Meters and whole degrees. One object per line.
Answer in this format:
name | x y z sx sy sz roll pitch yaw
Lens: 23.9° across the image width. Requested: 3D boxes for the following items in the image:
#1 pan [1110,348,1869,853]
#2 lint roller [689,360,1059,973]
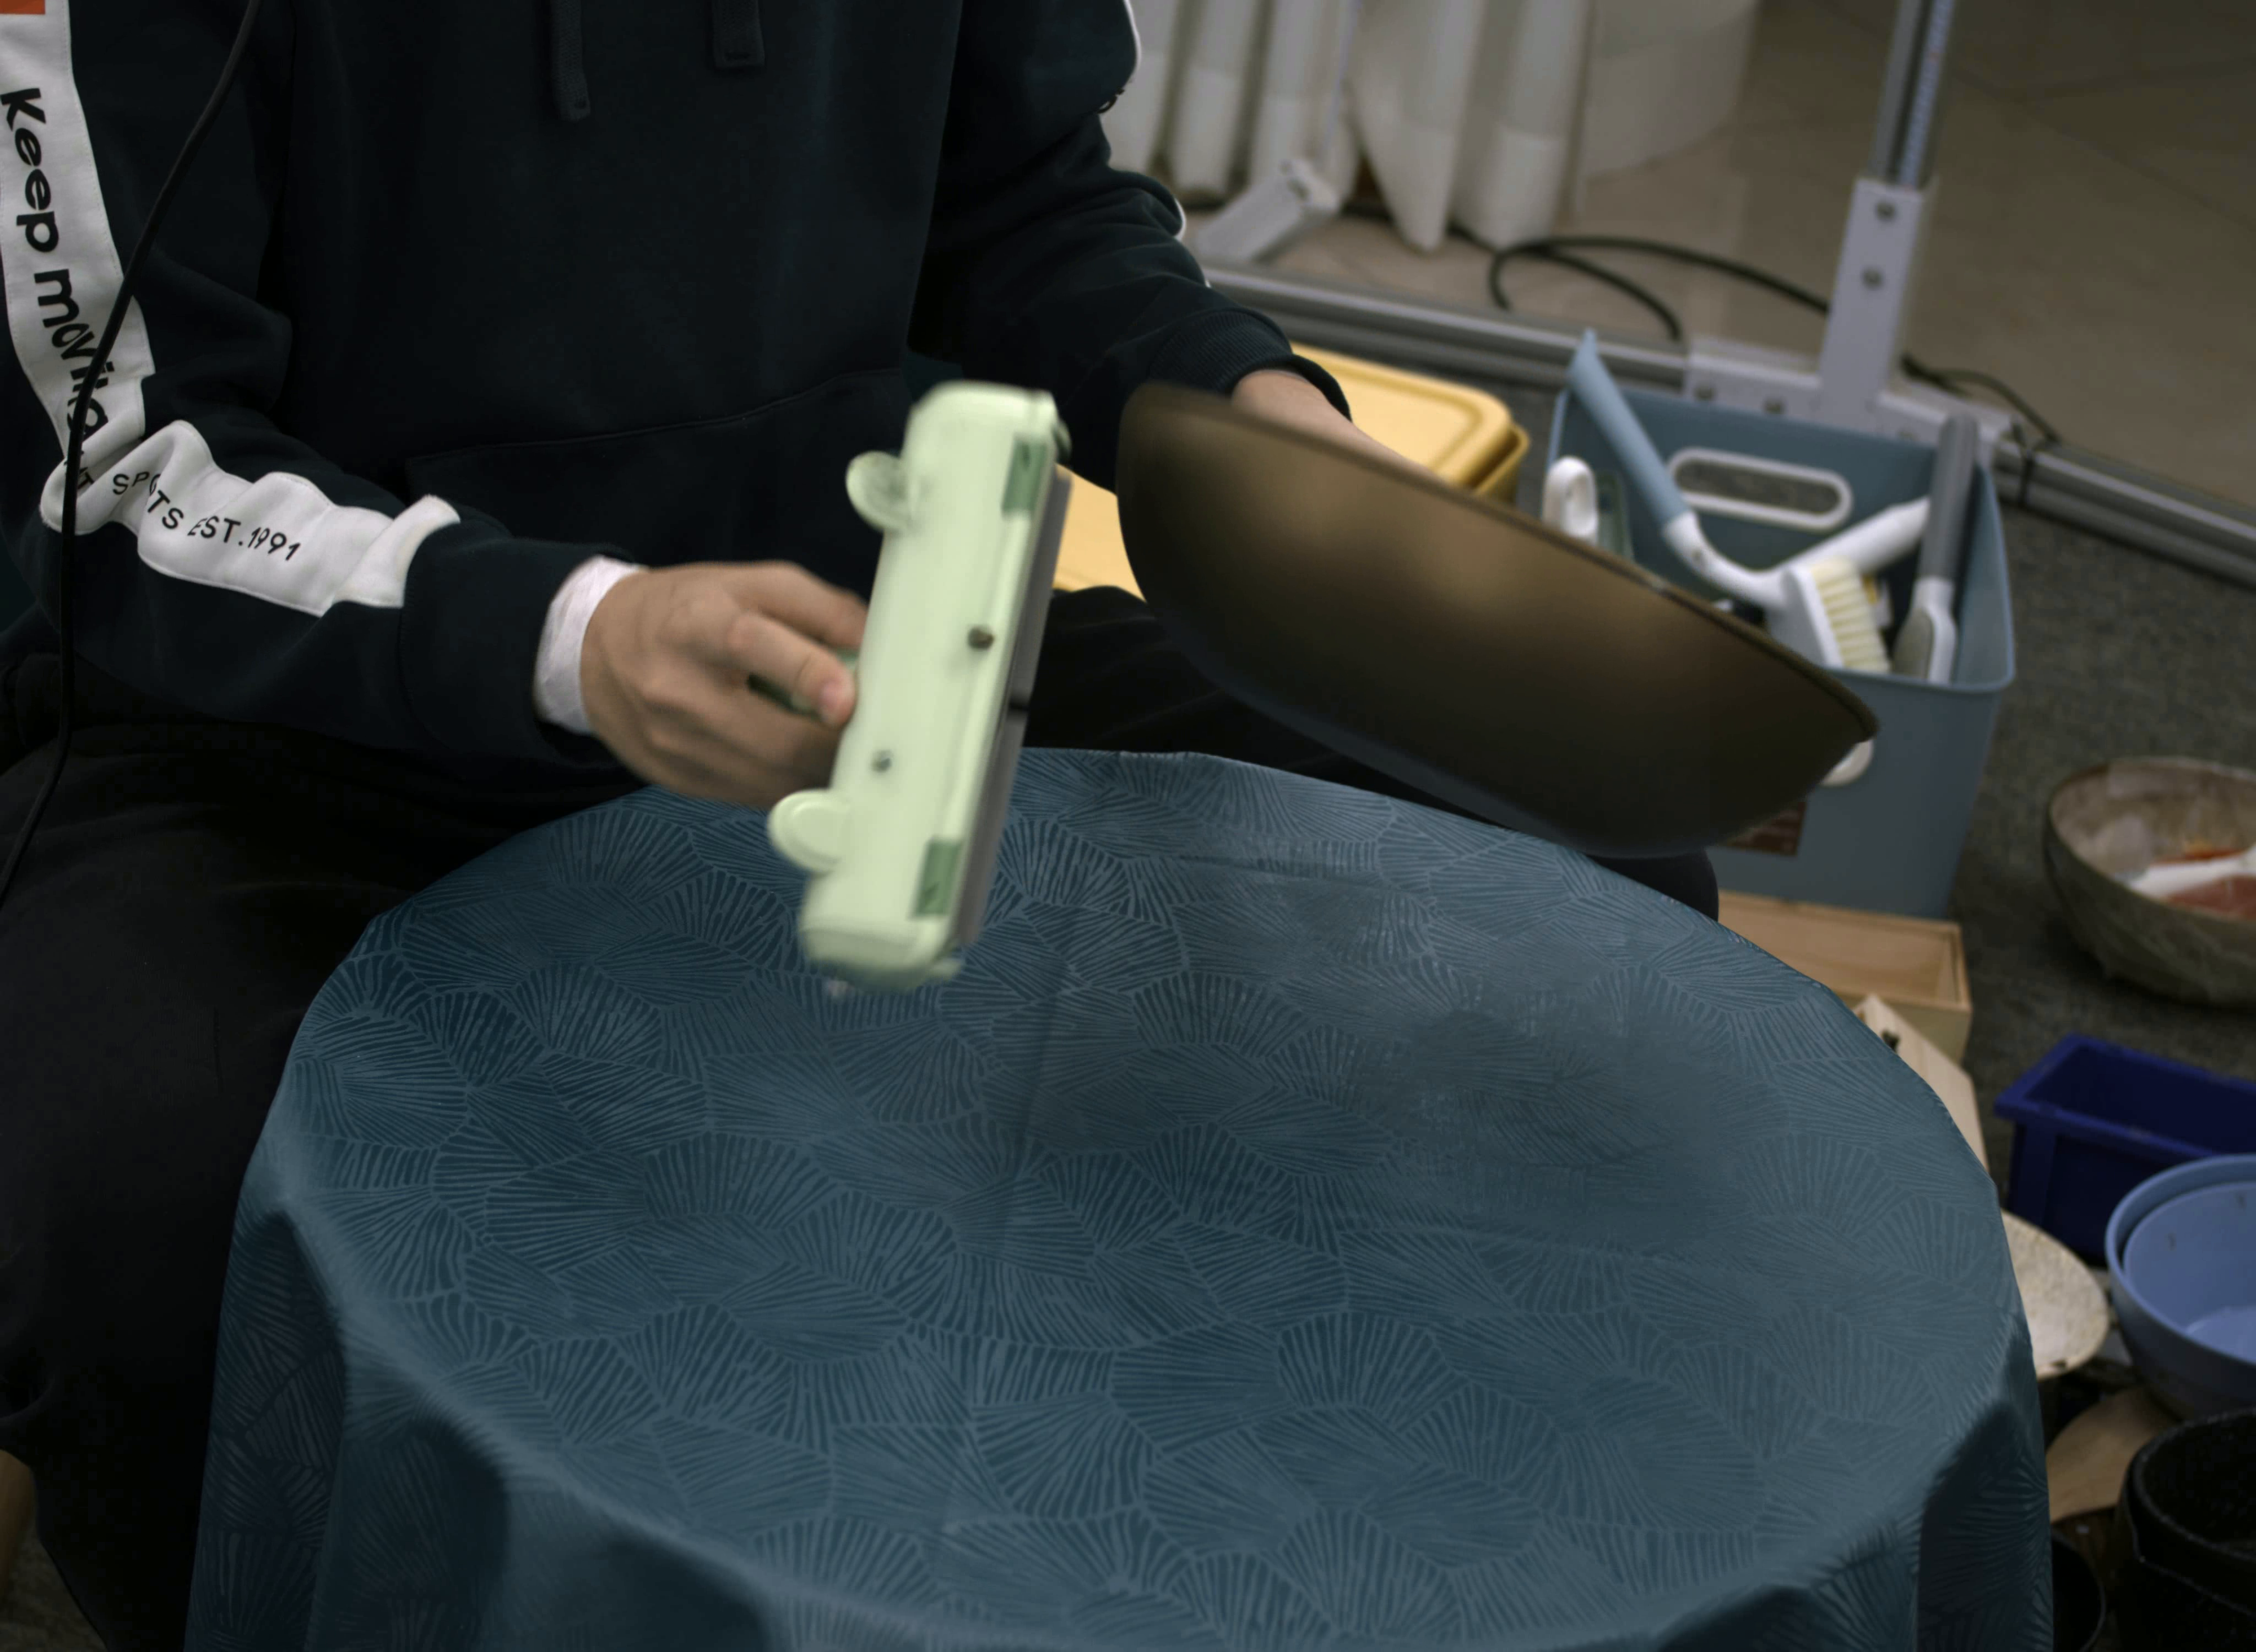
pan | 0.082 -0.068 1.893 0.286 0.087 0.465 28 -4 -15
lint roller | -0.105 -0.053 1.767 0.184 0.199 0.081 -1 -14 45
